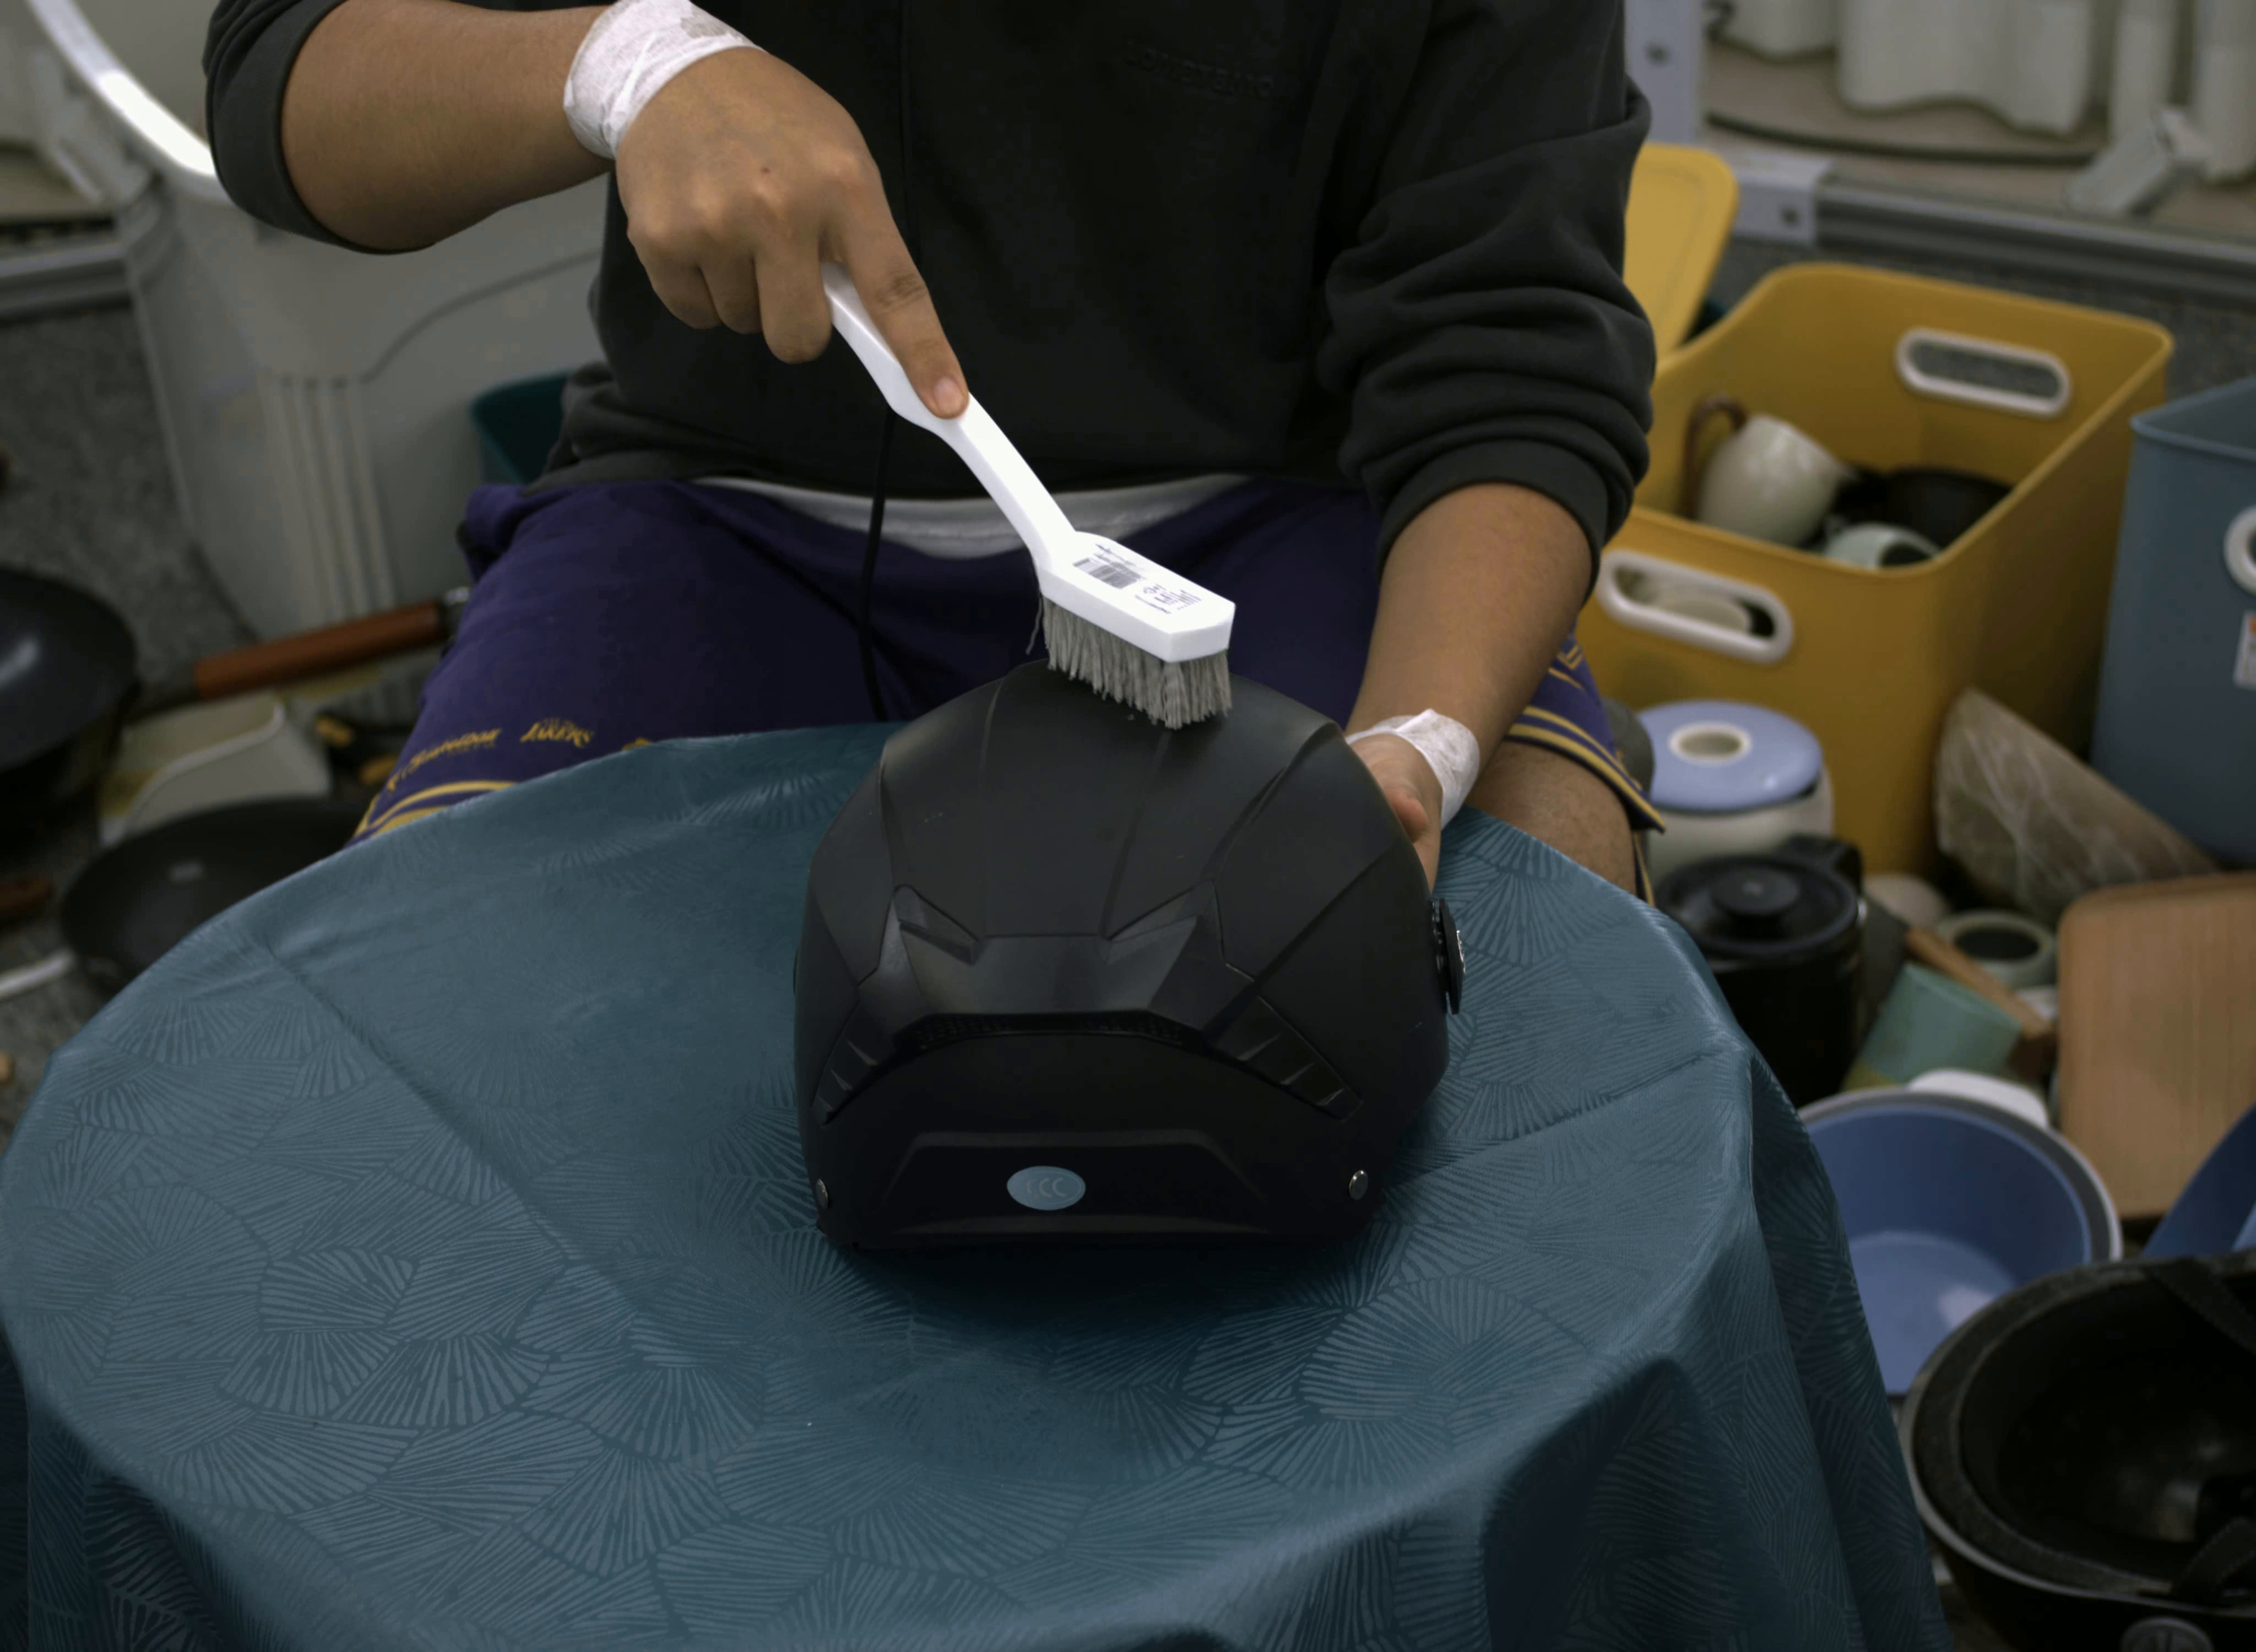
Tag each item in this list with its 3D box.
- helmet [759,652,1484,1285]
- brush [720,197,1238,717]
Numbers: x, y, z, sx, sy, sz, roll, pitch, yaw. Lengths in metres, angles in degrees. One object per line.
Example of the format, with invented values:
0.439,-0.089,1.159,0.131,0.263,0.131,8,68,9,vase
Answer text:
-0.004,0.028,1.864,0.245,0.170,0.282,0,31,10,helmet
-0.054,-0.120,1.858,0.244,0.049,0.035,42,43,22,brush
